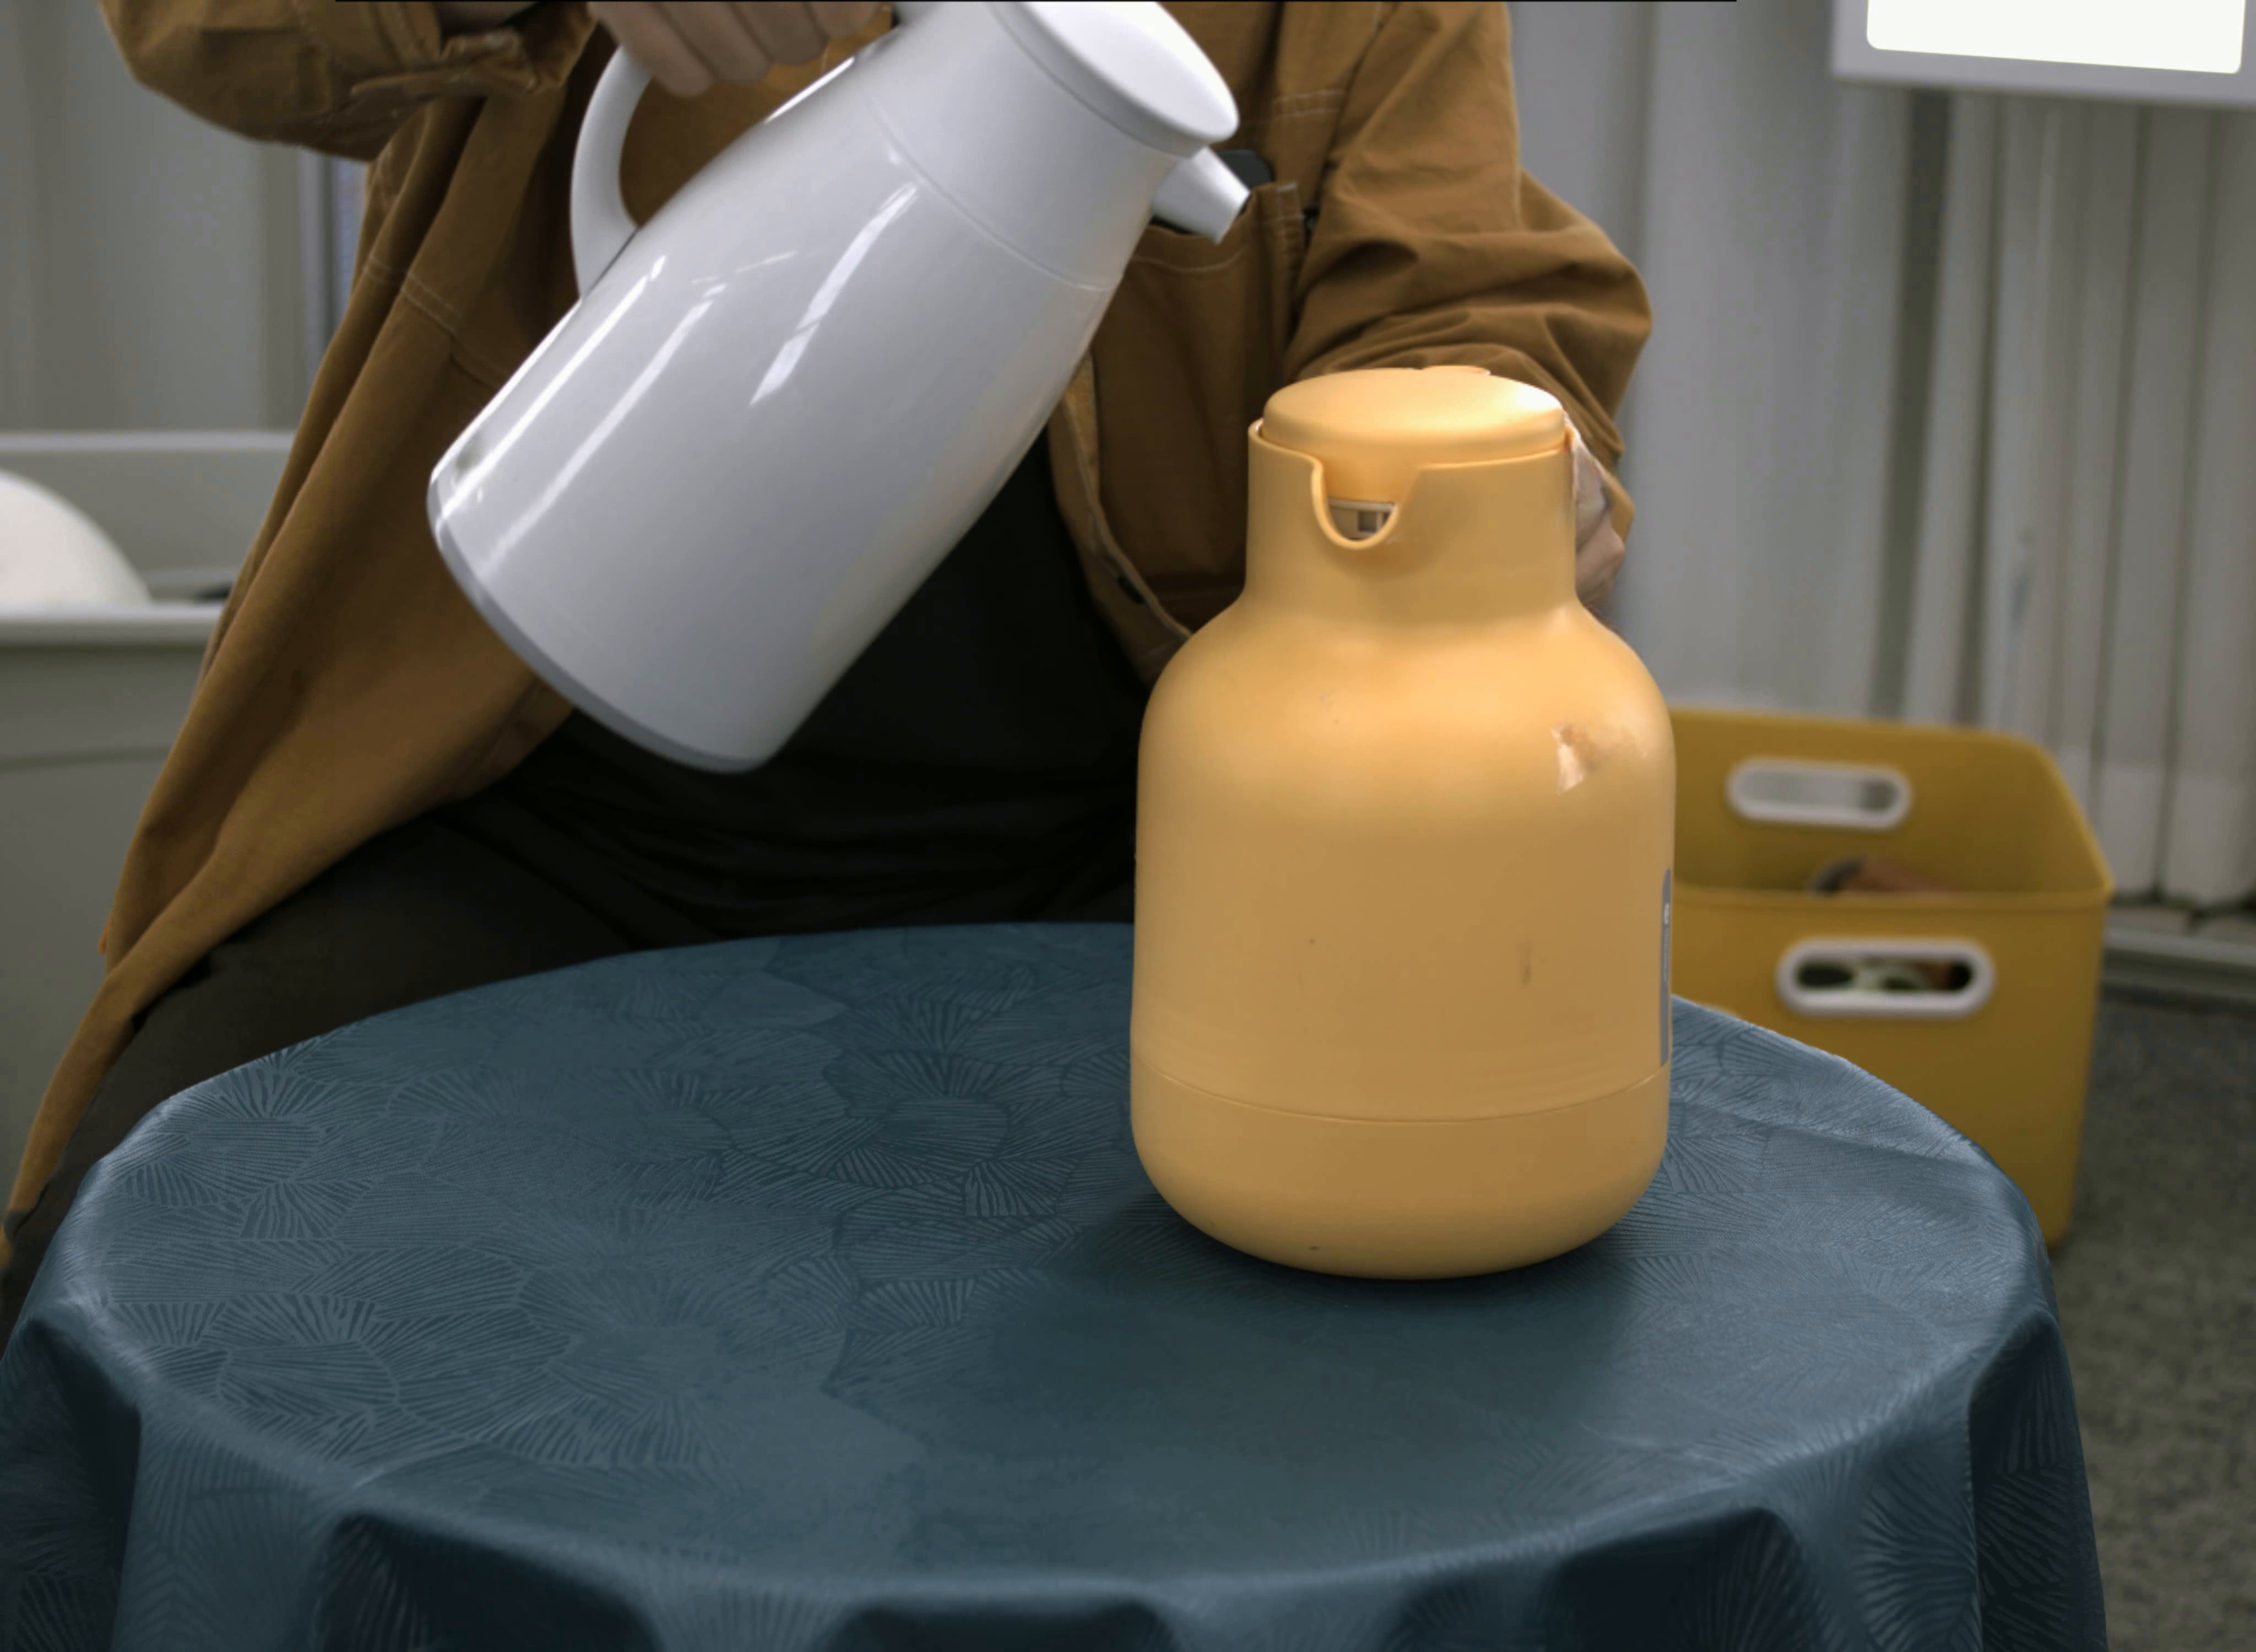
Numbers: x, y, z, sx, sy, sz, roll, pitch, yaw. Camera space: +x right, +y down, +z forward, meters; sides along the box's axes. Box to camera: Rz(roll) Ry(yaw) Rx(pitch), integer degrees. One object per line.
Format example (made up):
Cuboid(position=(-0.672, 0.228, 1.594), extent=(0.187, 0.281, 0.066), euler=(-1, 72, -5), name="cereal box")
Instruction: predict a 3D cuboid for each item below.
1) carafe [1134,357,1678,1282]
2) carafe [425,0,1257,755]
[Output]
Cuboid(position=(0.090, -0.010, 1.581), extent=(0.162, 0.262, 0.202), euler=(7, 18, 17), name="carafe")
Cuboid(position=(-0.091, -0.164, 1.511), extent=(0.168, 0.249, 0.132), euler=(41, 22, -7), name="carafe")
